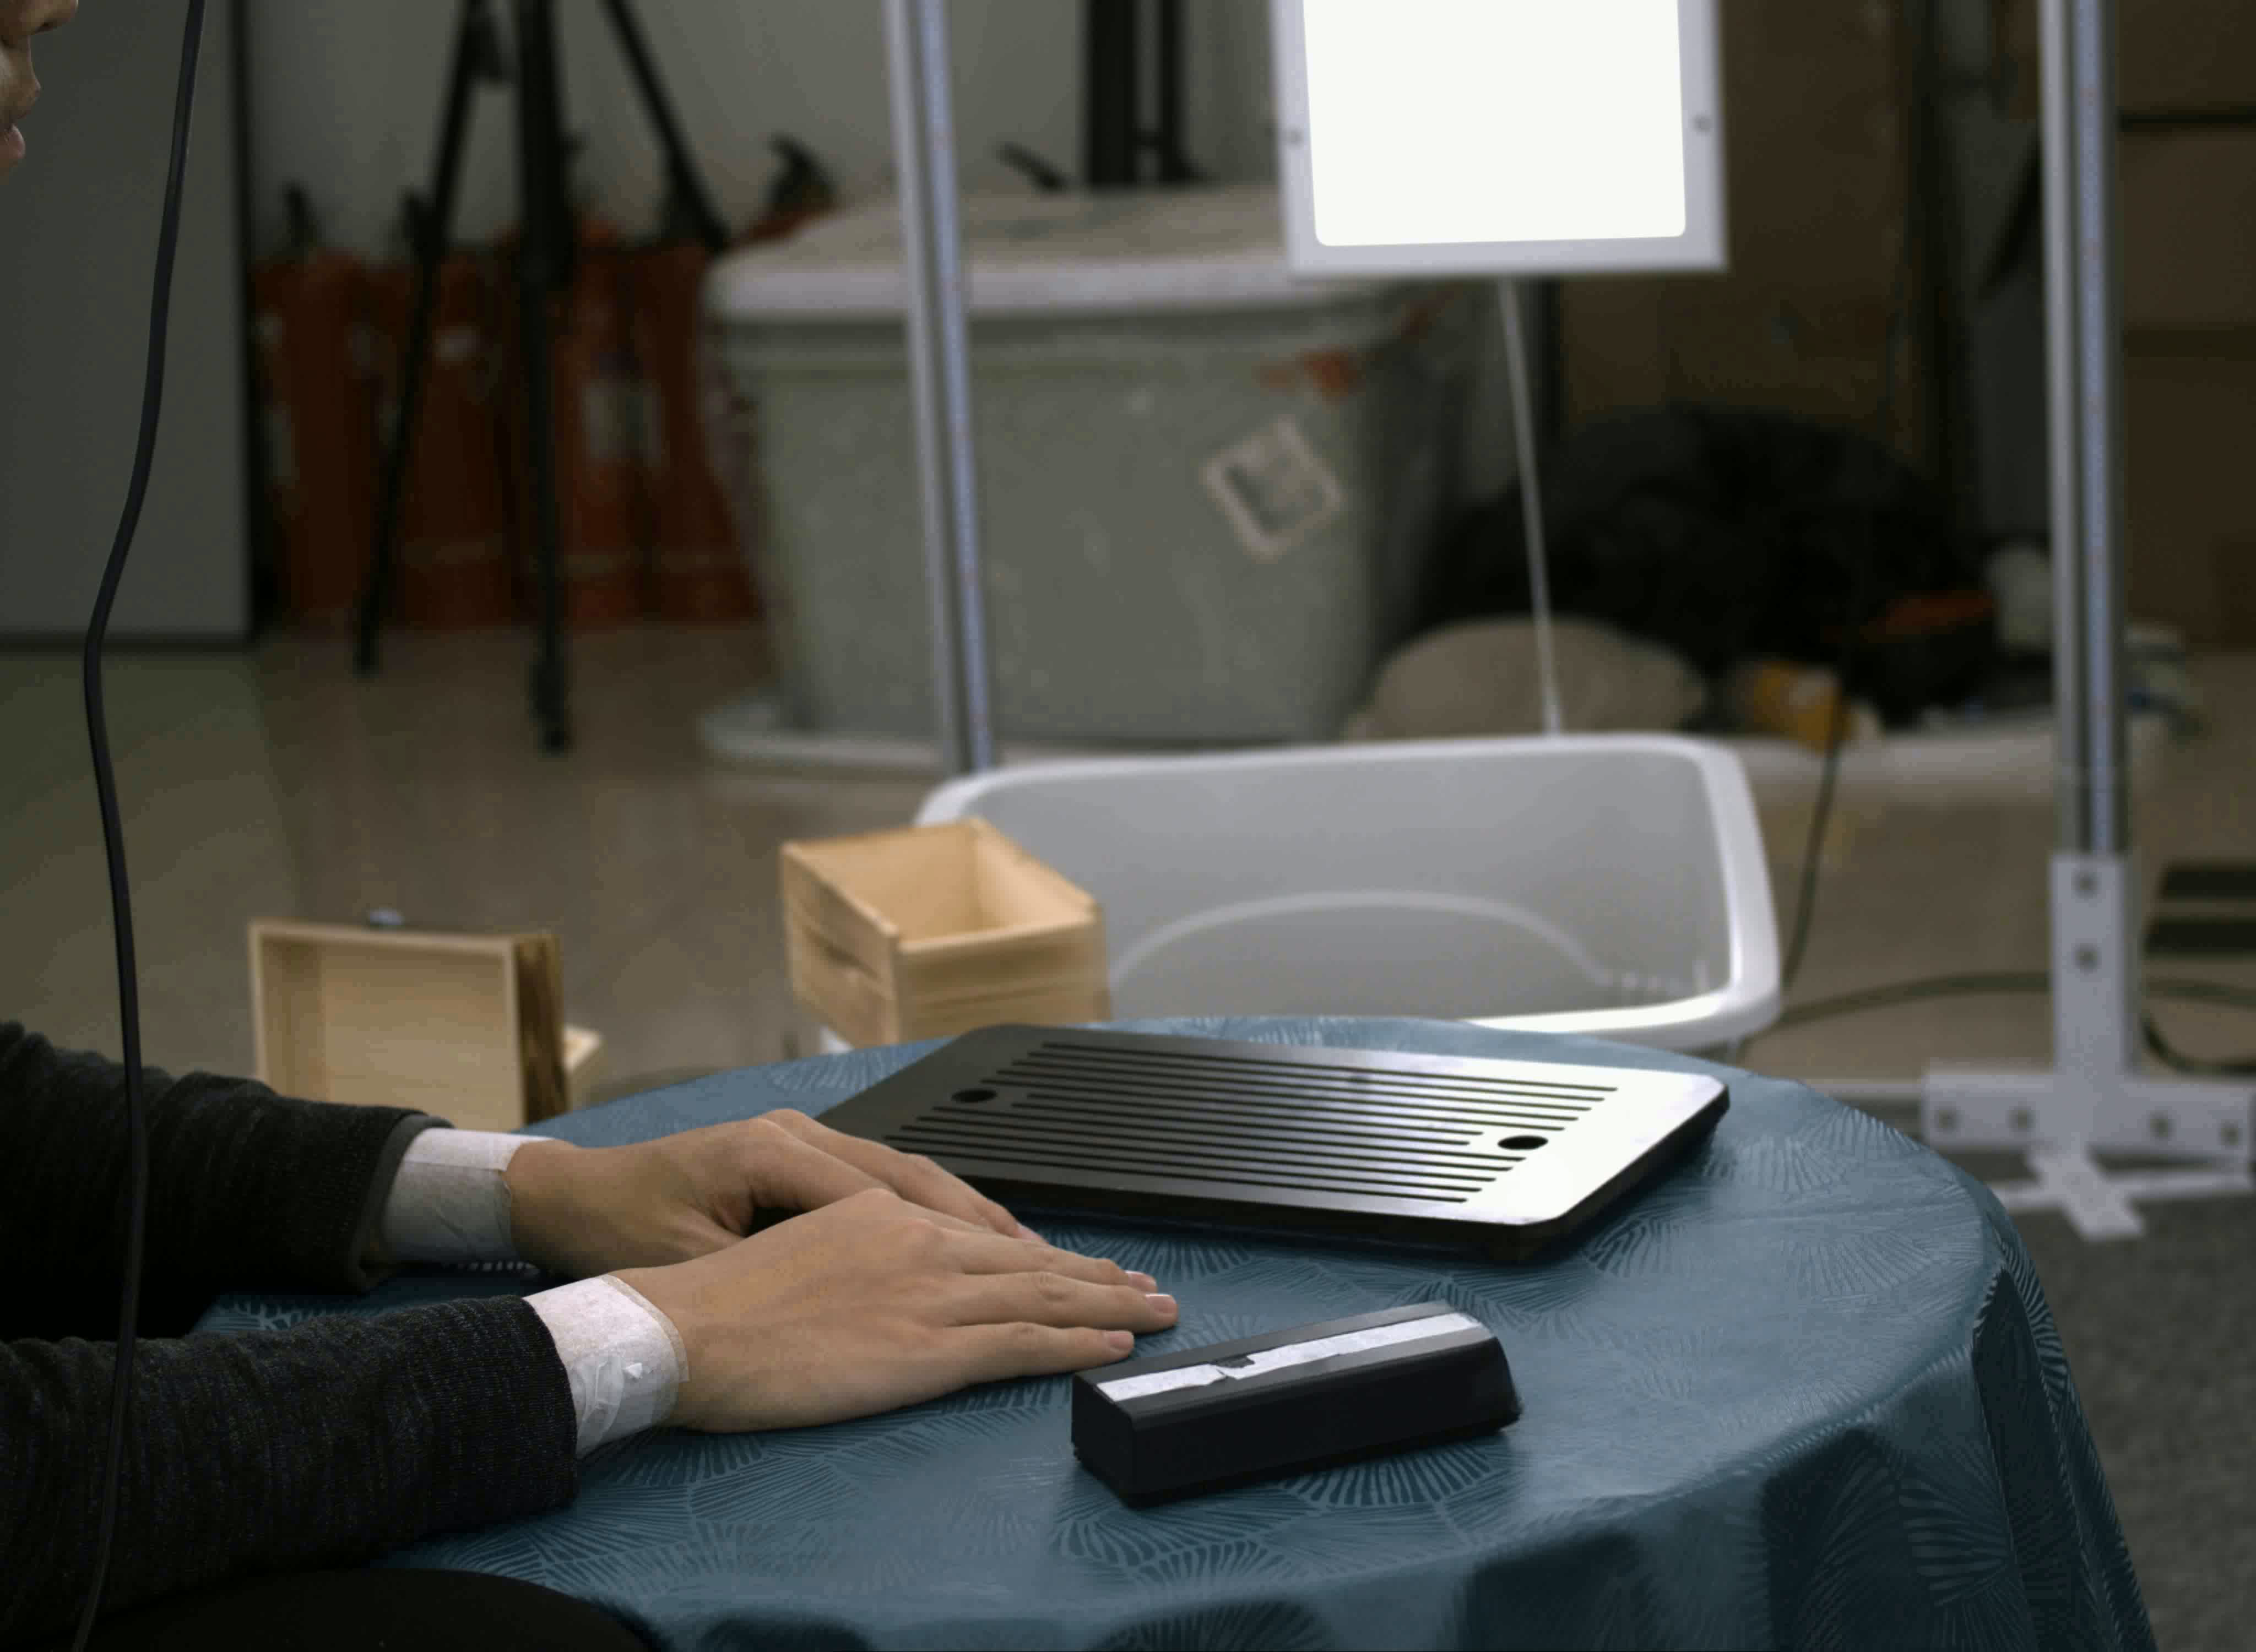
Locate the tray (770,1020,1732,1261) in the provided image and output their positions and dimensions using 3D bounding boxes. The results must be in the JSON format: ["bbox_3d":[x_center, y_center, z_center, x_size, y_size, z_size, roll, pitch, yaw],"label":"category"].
[{"bbox_3d":[0.043,0.108,1.921,0.311,0.019,0.166,3,16,30],"label":"tray"}]

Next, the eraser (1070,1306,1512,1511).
[{"bbox_3d":[0.050,0.172,1.637,0.123,0.030,0.054,-11,13,-18],"label":"eraser"}]
